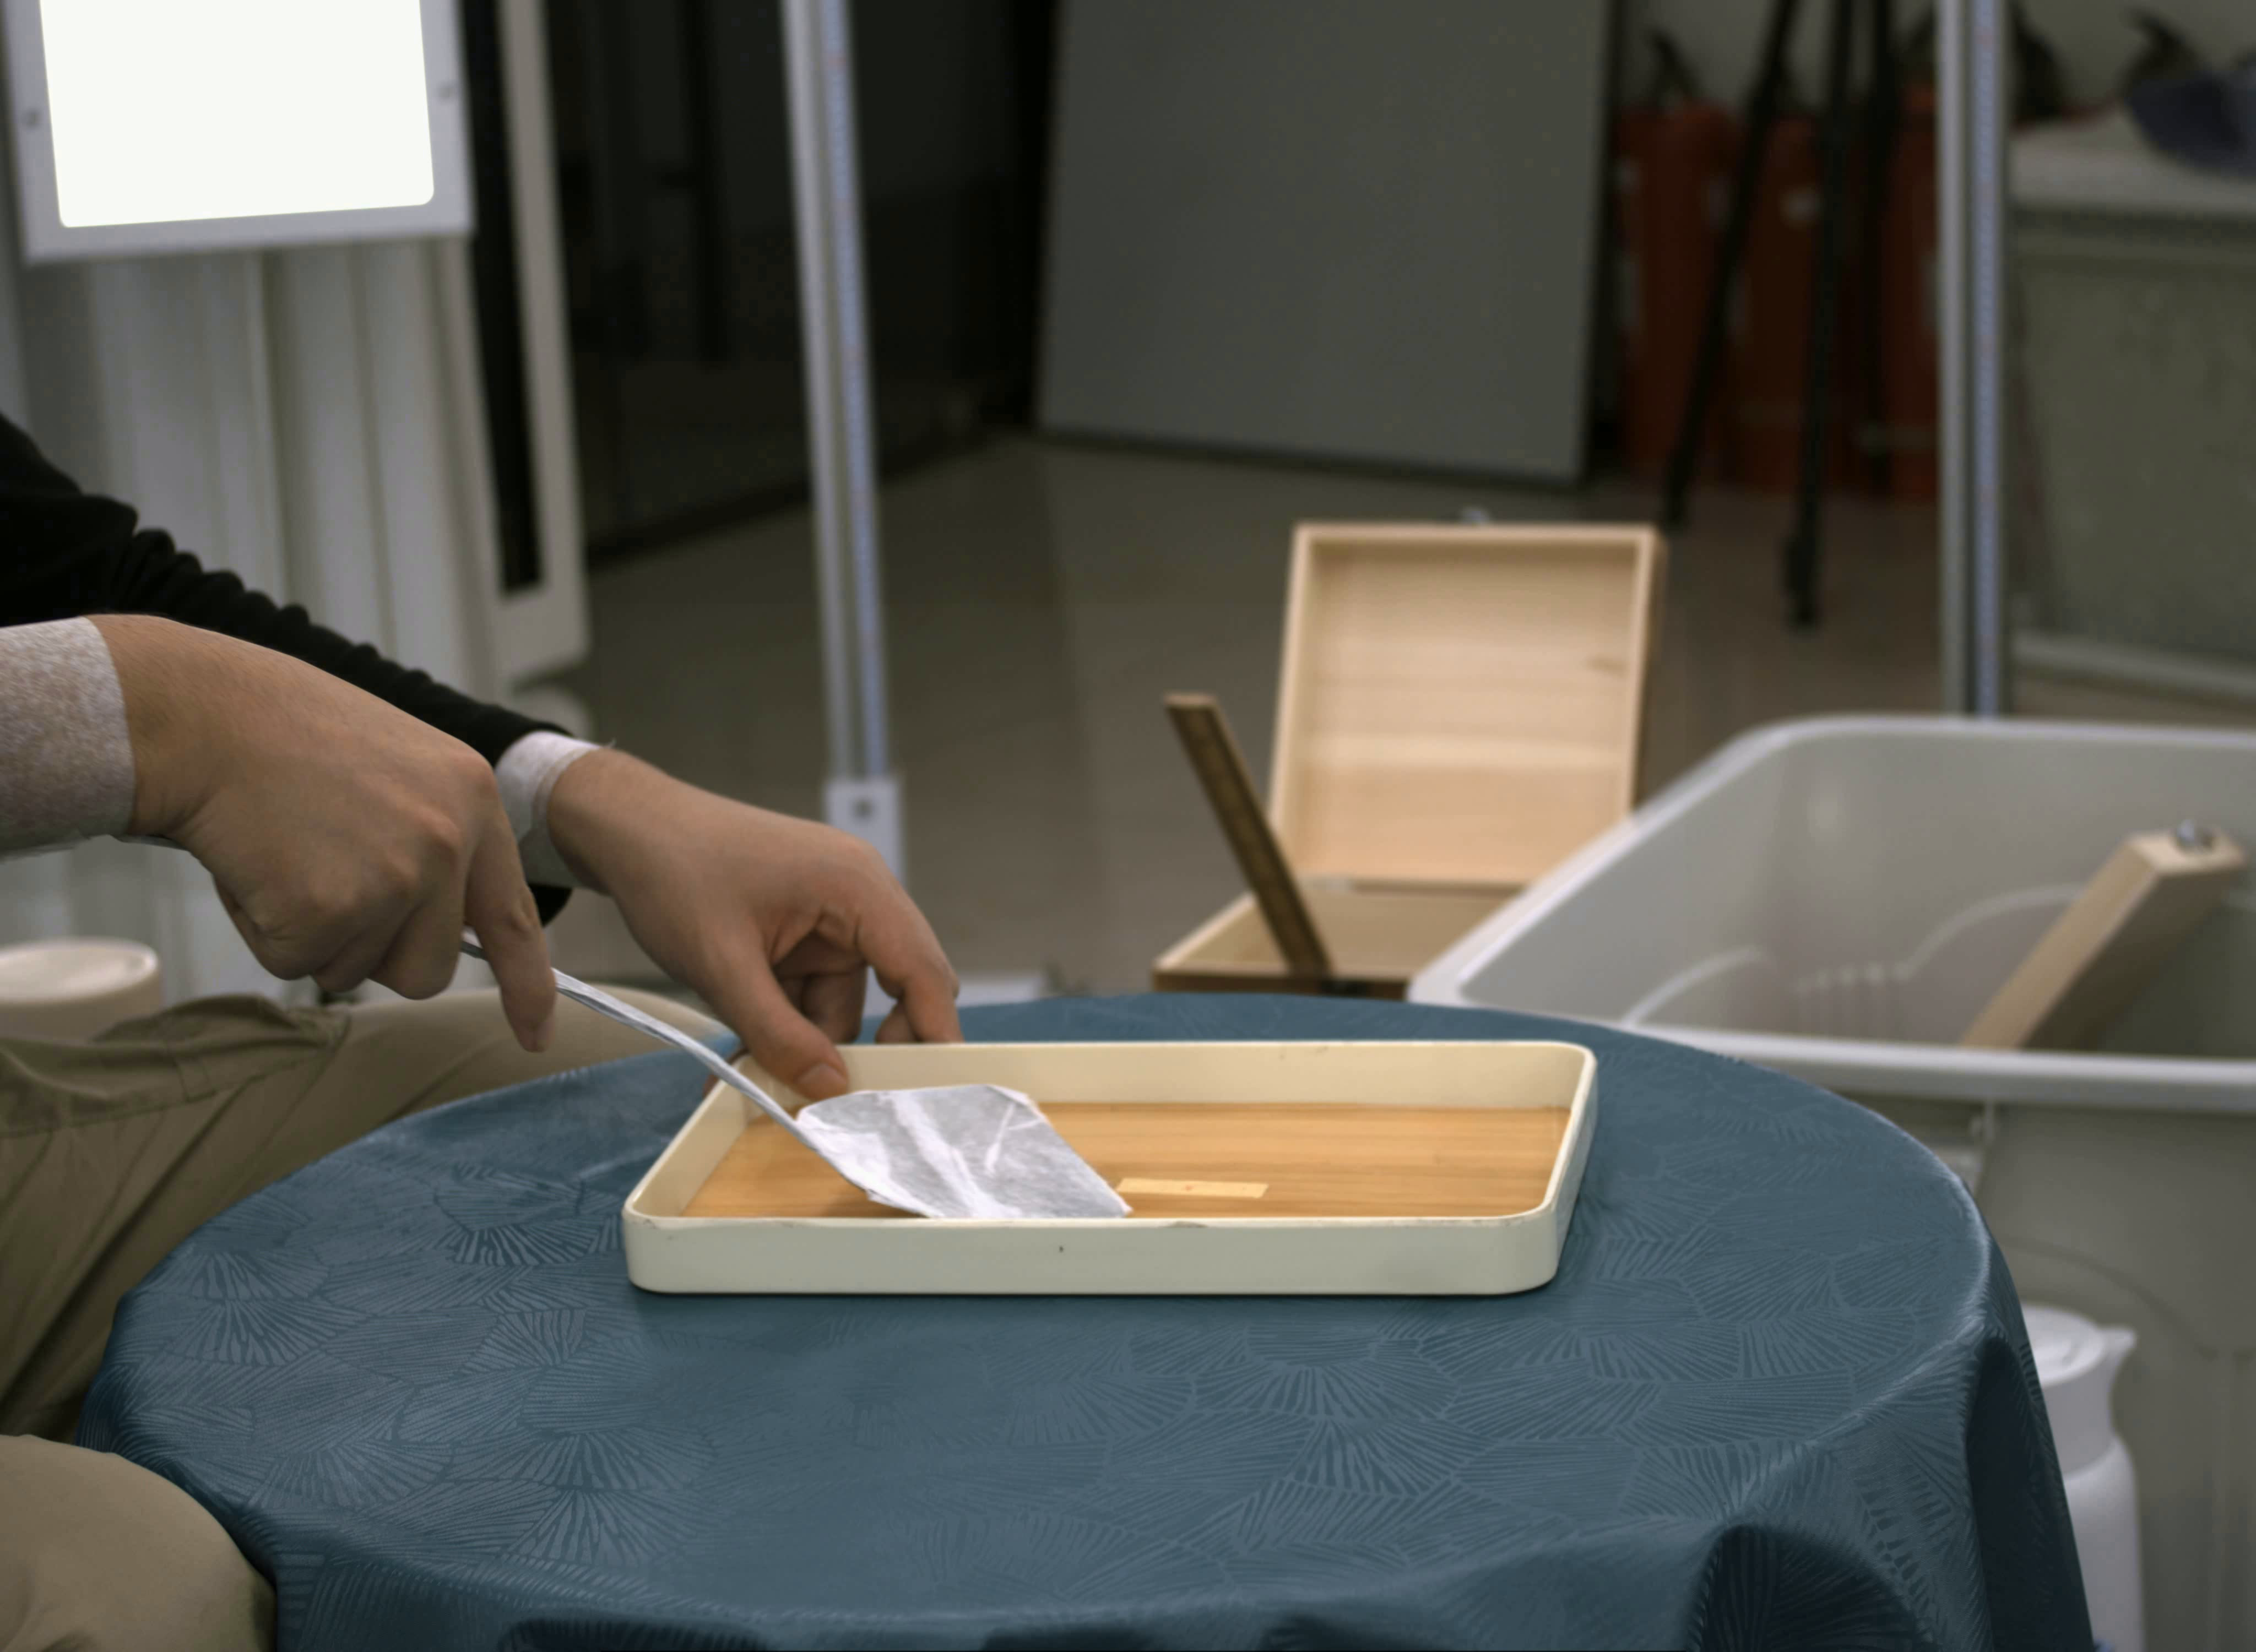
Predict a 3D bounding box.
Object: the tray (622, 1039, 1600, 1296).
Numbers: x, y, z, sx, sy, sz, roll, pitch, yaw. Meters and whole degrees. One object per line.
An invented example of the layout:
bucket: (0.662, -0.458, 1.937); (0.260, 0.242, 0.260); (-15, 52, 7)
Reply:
tray: (-0.001, 0.111, 1.755); (0.298, 0.028, 0.190); (-1, 14, 12)

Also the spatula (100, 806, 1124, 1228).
spatula: (-0.150, 0.054, 1.645); (0.358, 0.045, 0.100); (29, 8, -35)
